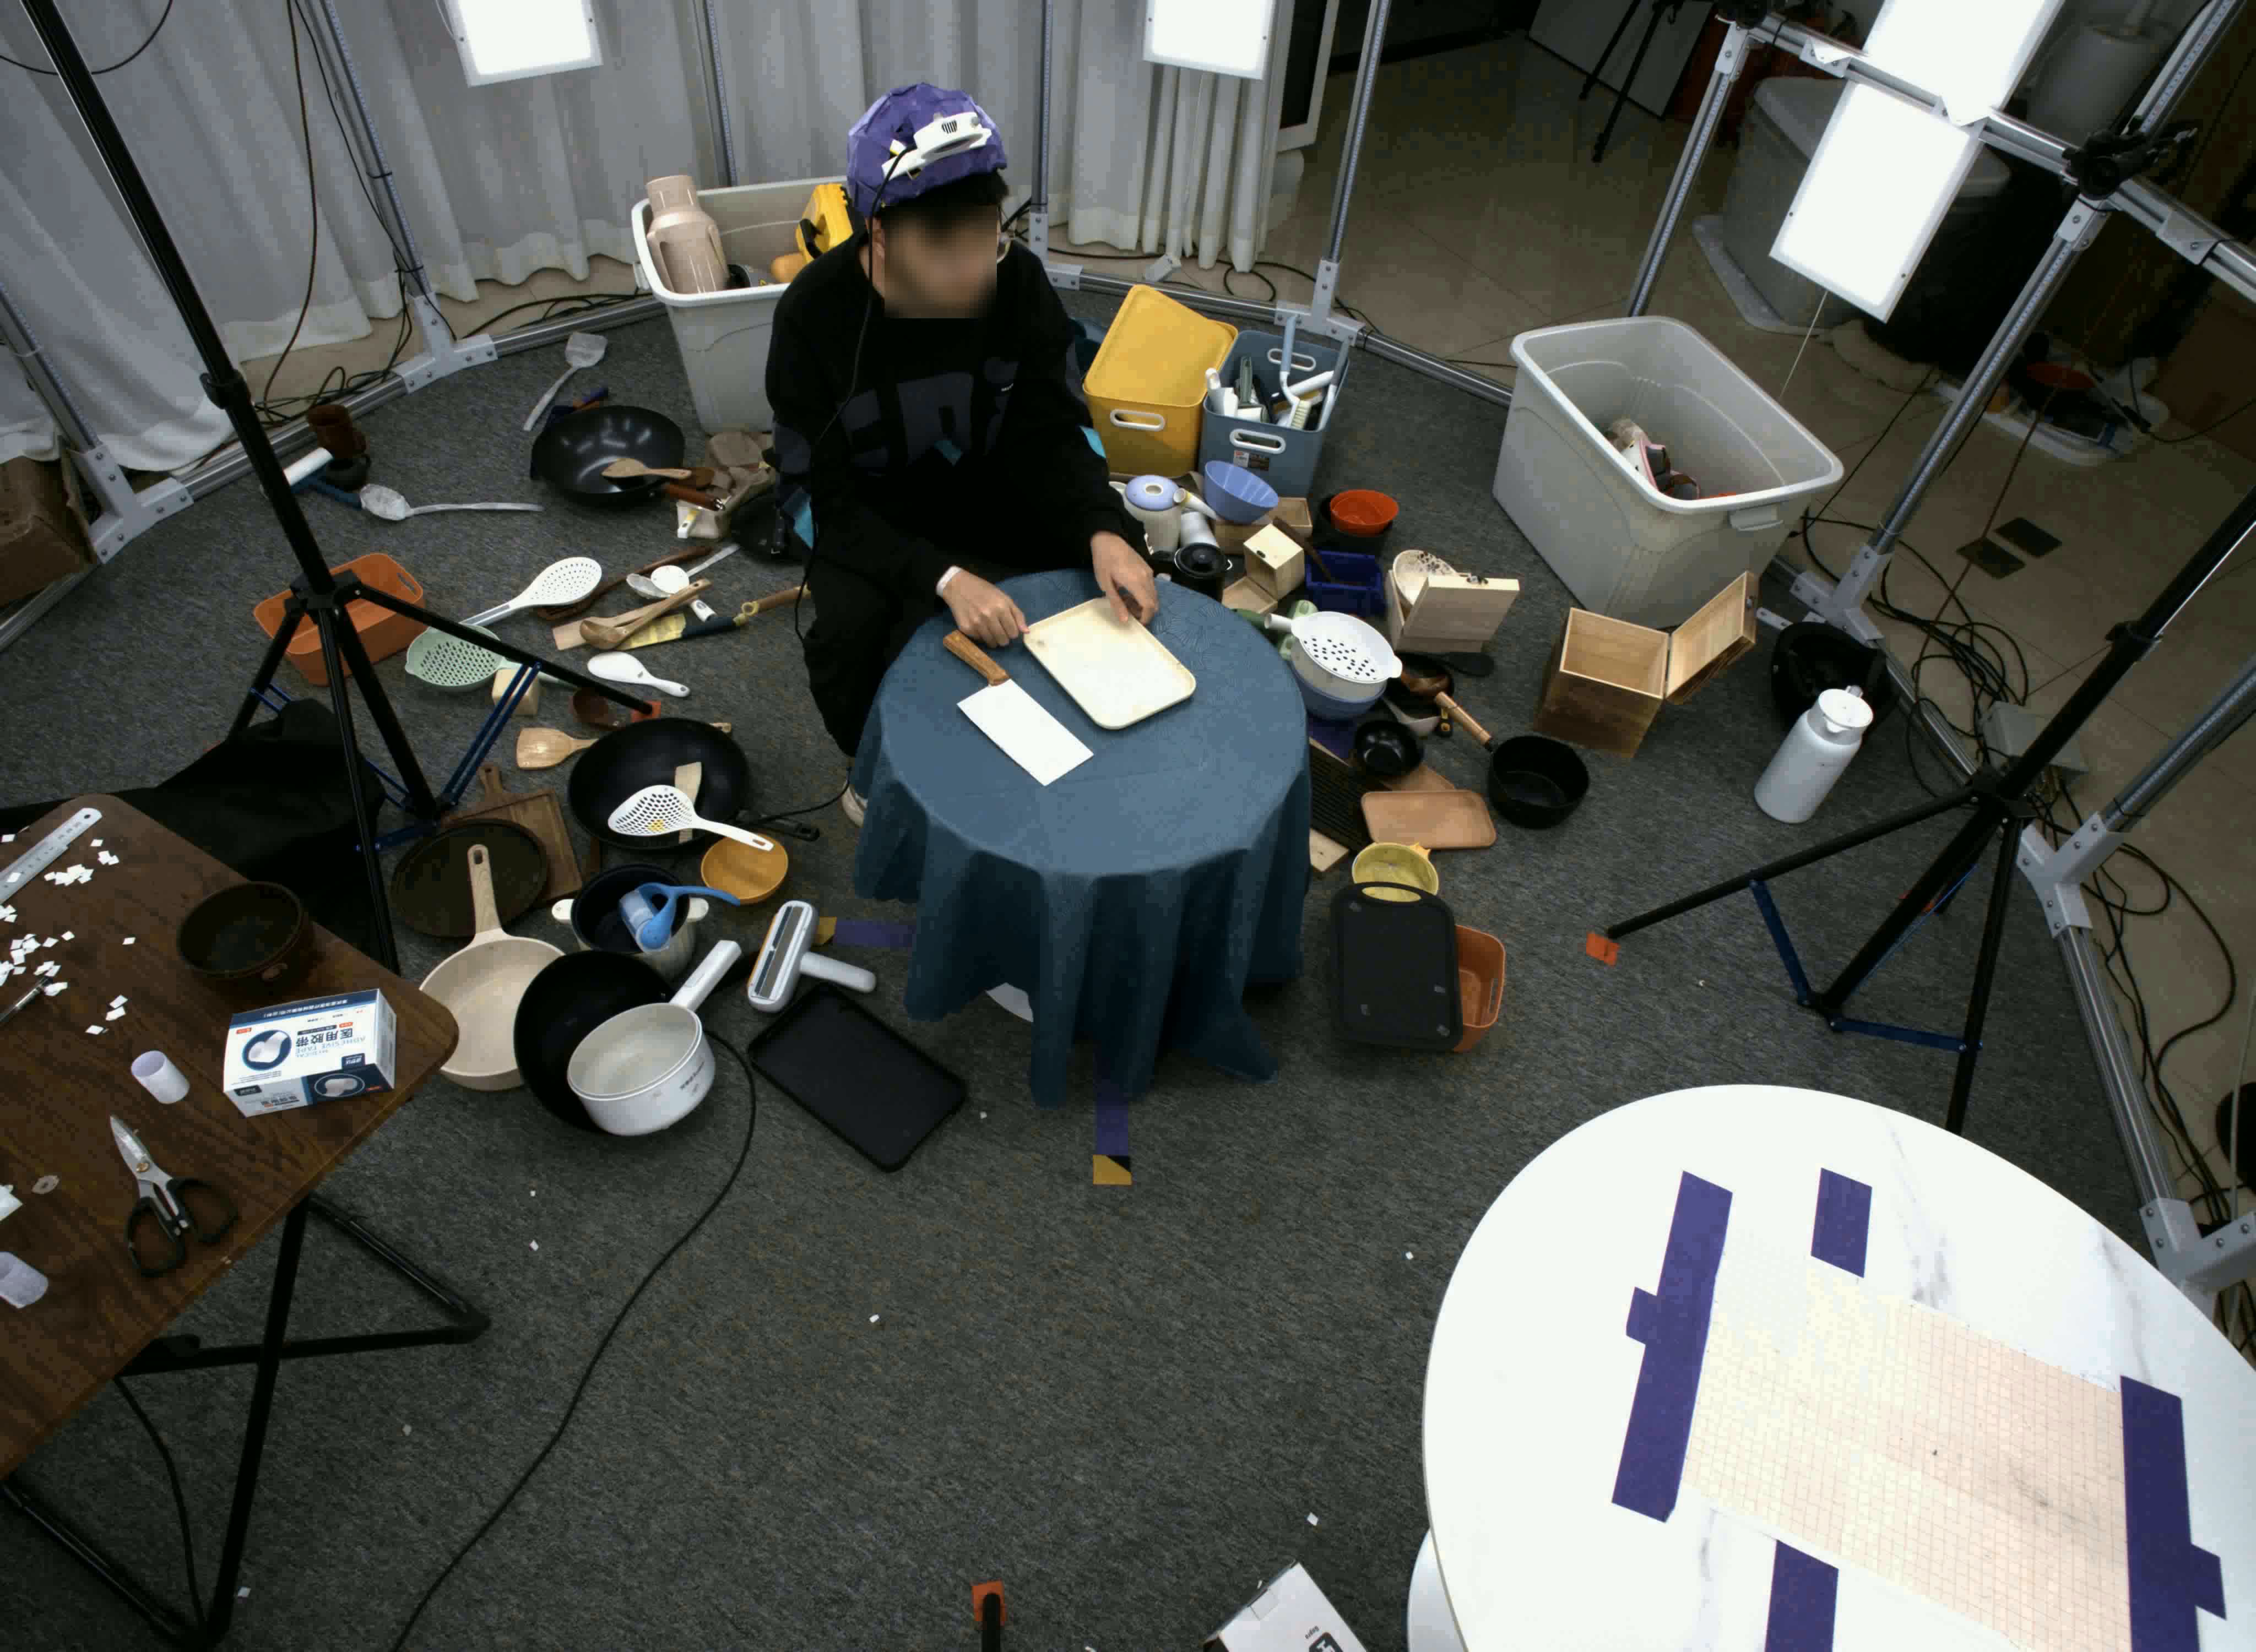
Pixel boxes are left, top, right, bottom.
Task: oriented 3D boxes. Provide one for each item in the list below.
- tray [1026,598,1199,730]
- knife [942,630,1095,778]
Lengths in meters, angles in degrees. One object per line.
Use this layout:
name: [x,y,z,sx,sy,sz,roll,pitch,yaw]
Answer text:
tray: [-0.024,-0.236,1.860,0.172,0.017,0.244,-26,56,-23]
knife: [-0.175,-0.170,1.794,0.093,0.020,0.310,-33,61,-27]
